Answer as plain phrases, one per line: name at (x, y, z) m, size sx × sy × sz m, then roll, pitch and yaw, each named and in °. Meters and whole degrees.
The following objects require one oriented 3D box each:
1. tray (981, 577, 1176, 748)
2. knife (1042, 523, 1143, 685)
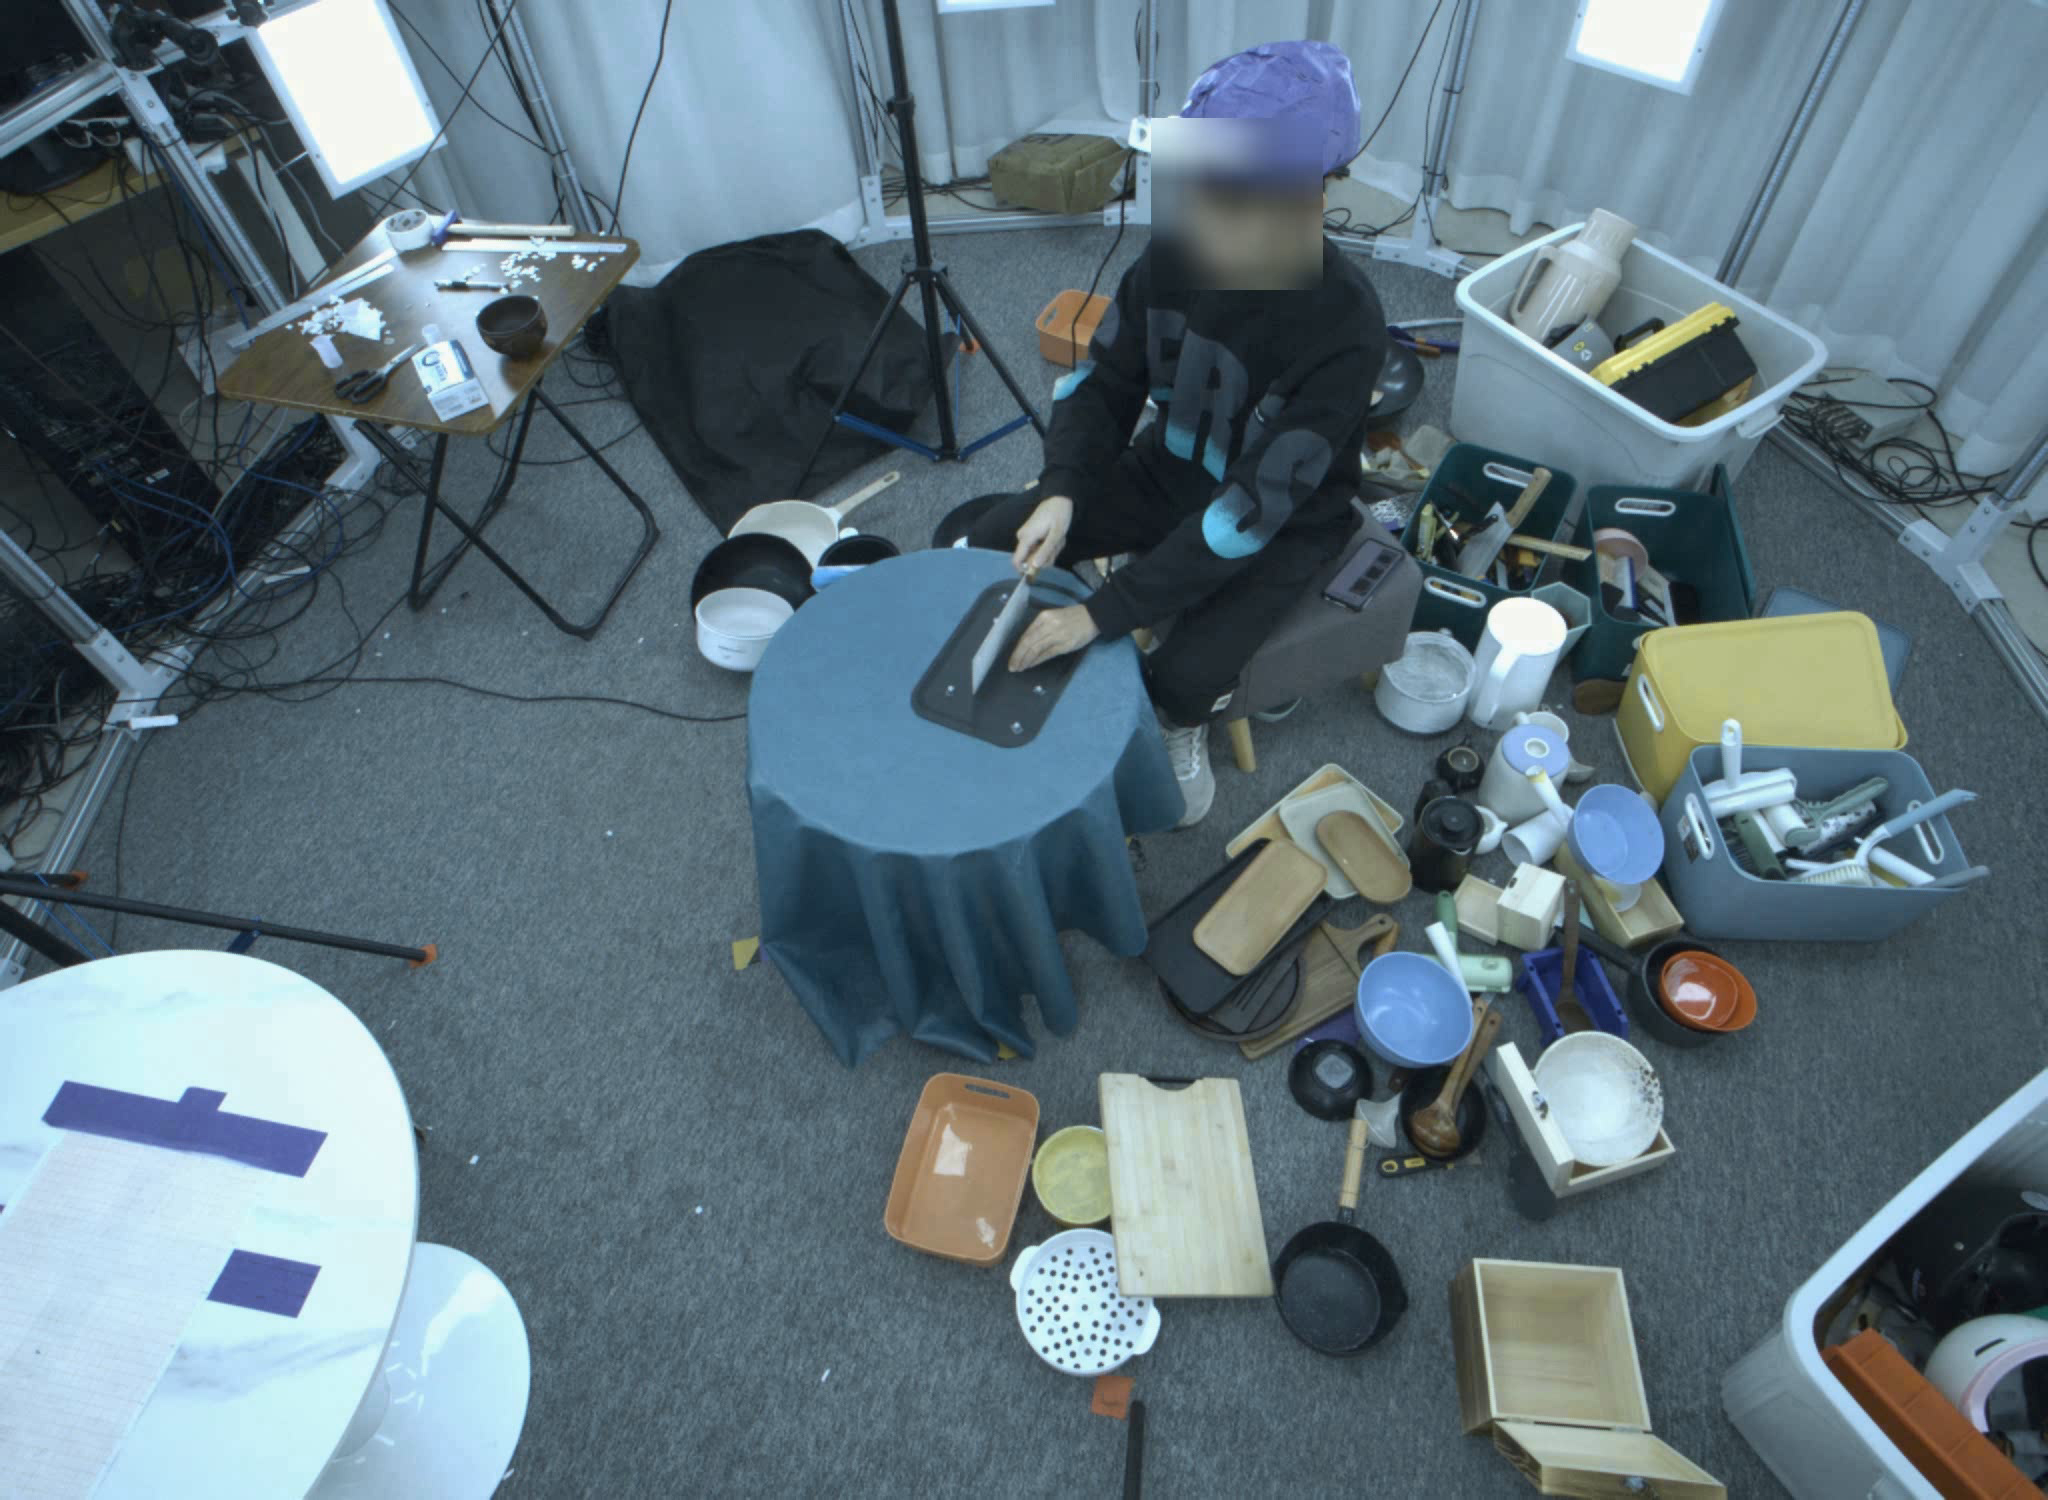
tray at (0.089, -0.147, 1.883) m, size 0.208 × 0.010 × 0.326 m, roll 26°, pitch 60°, yaw 19°
knife at (0.103, -0.220, 1.870) m, size 0.021 × 0.093 × 0.306 m, roll 26°, pitch 62°, yaw 13°
